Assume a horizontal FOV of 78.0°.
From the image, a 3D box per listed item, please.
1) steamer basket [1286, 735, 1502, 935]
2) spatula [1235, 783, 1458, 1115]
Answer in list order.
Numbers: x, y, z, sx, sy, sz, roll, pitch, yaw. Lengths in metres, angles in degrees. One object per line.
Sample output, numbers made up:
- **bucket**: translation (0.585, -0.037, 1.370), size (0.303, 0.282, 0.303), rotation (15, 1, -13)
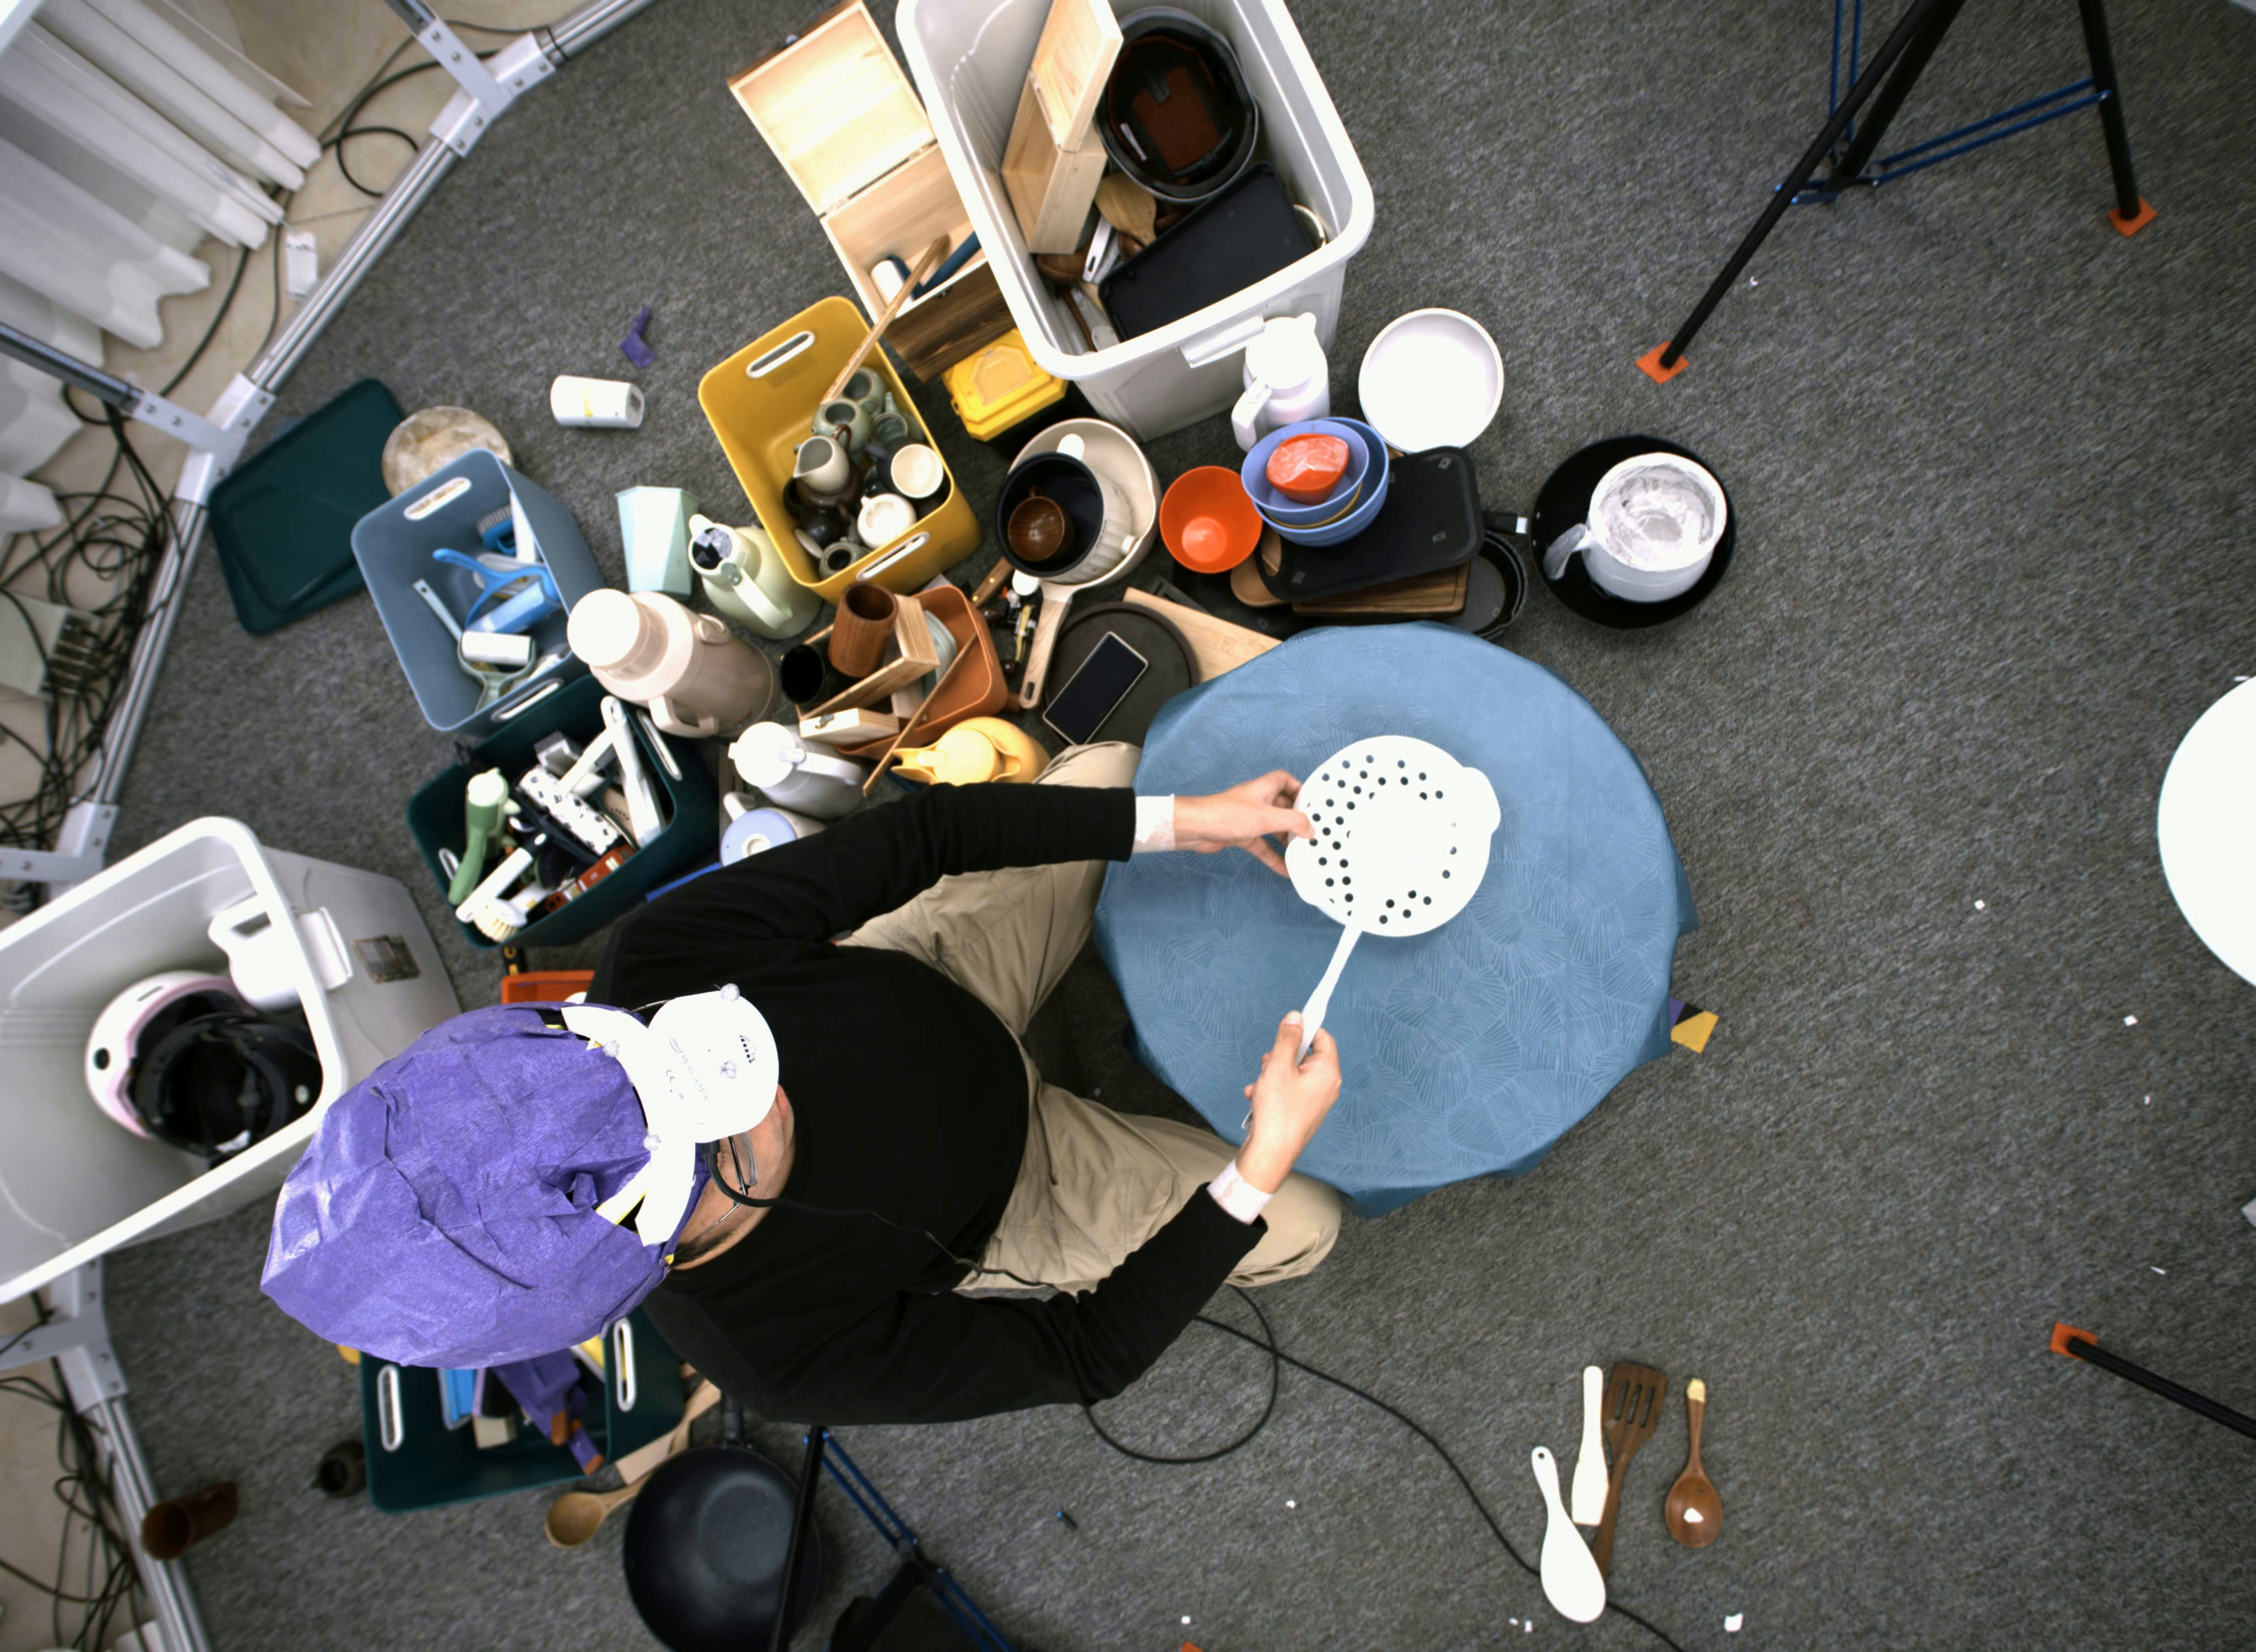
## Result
- **steamer basket**: translation (0.266, 0.009, 1.408), size (0.230, 0.069, 0.201), rotation (-23, 90, -6)
- **spatula**: translation (0.201, 0.120, 1.301), size (0.099, 0.045, 0.358), rotation (37, 68, -14)
